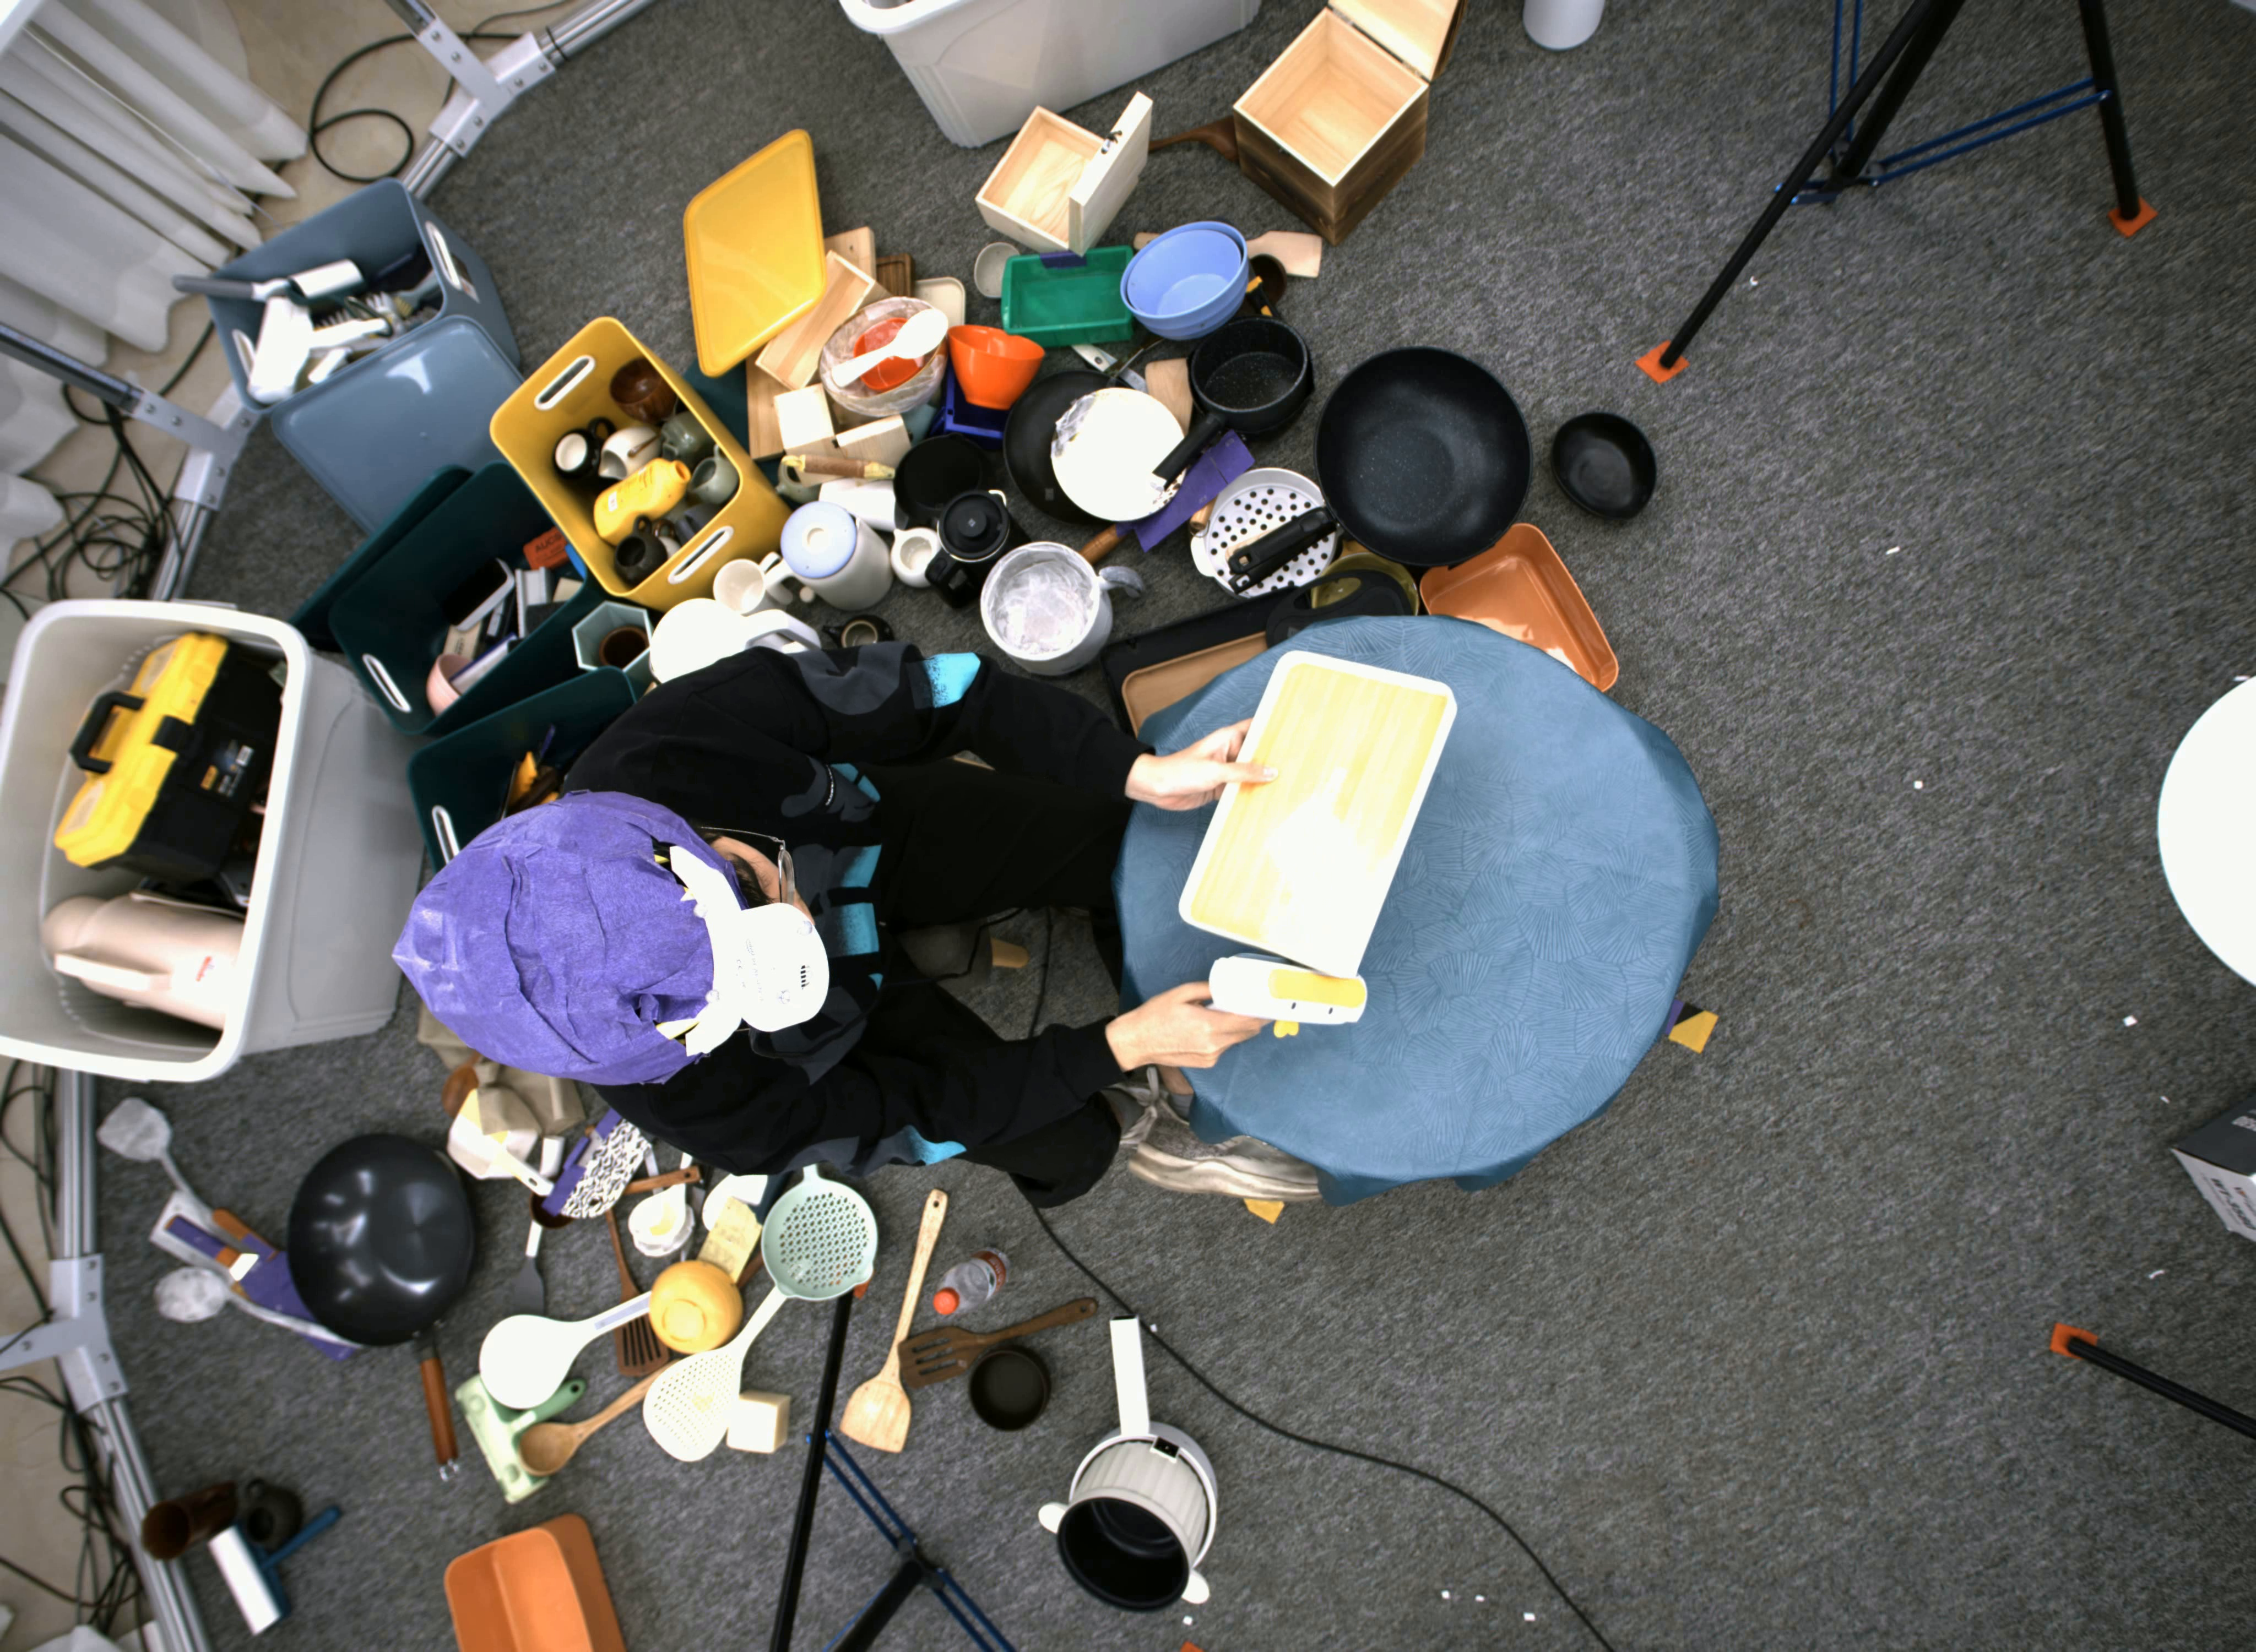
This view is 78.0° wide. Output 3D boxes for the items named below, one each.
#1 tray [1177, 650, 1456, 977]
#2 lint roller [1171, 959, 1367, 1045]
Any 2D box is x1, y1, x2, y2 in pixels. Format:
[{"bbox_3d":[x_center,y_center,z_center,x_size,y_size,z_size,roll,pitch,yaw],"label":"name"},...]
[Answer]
[{"bbox_3d":[0.182,-0.018,1.337,0.191,0.027,0.298,19,83,31],"label":"tray"},{"bbox_3d":[0.113,0.177,1.364,0.195,0.192,0.073,-17,73,47],"label":"lint roller"}]
